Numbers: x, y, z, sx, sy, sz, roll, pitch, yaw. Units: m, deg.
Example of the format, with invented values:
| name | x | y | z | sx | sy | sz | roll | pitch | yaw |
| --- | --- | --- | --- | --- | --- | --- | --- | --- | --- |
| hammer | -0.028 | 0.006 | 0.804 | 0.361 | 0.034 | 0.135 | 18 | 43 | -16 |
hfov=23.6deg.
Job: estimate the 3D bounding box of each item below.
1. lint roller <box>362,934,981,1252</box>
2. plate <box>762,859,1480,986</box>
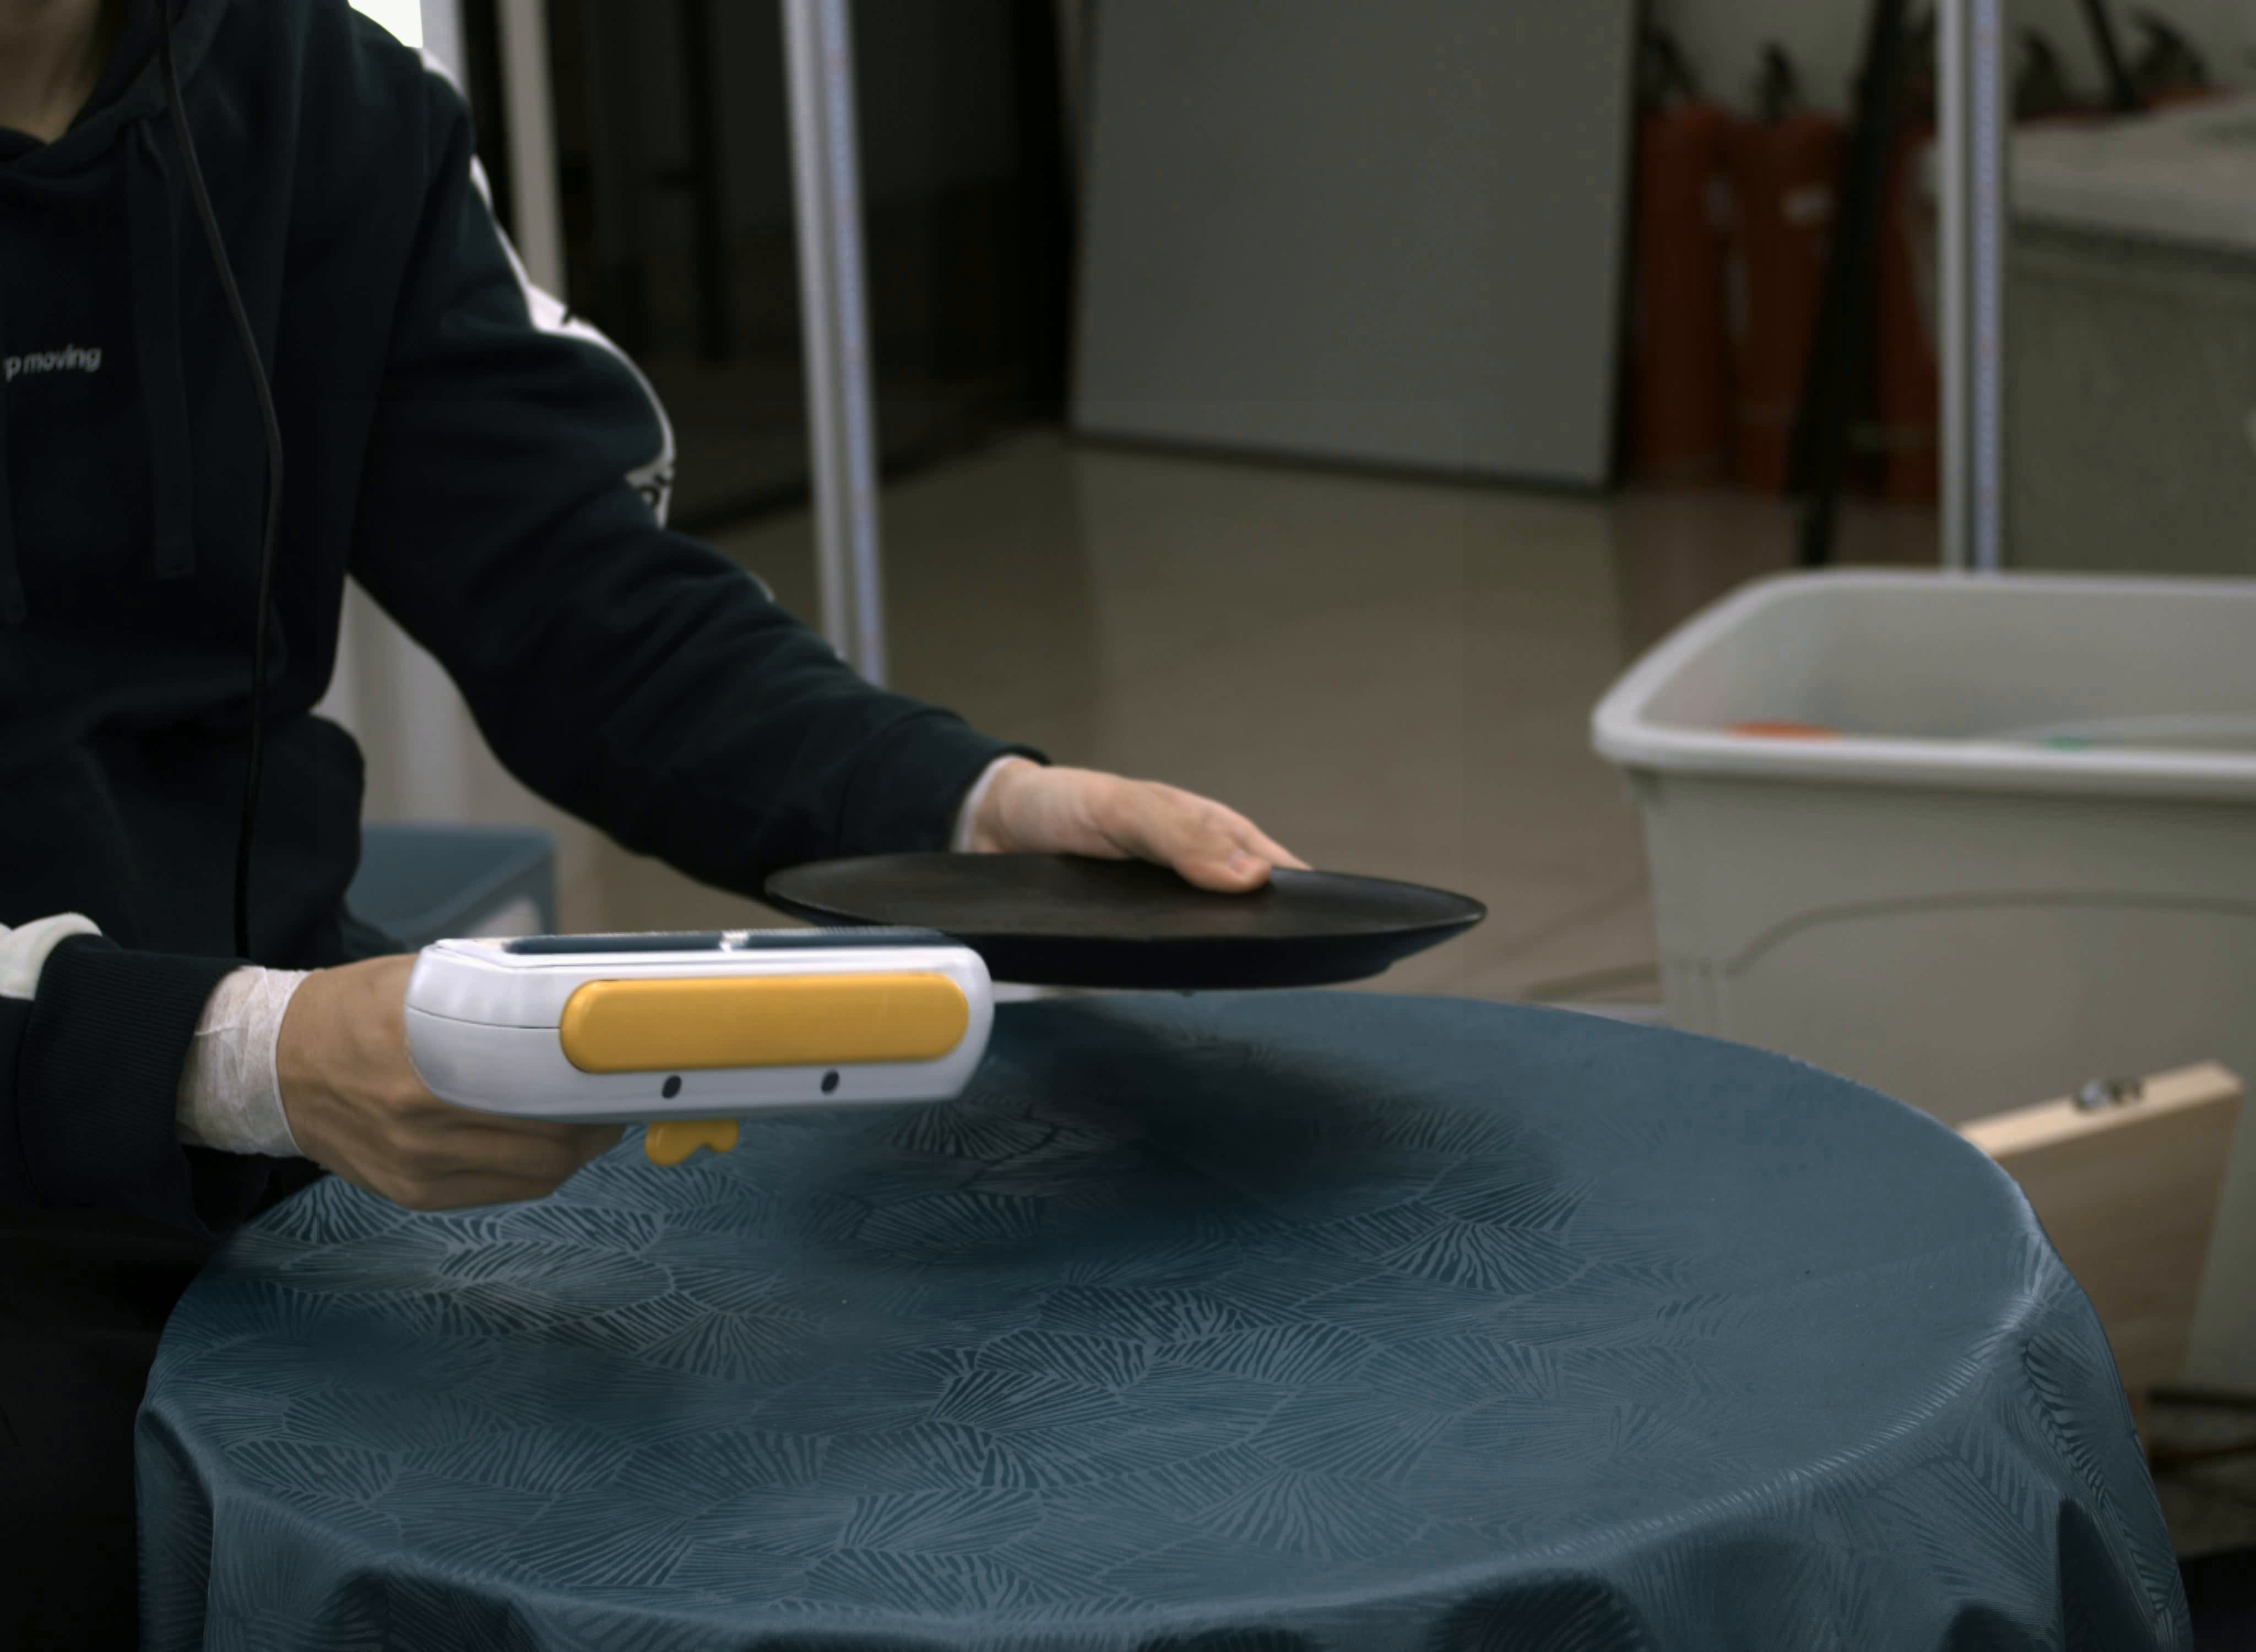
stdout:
| name | x | y | z | sx | sy | sz | roll | pitch | yaw |
| --- | --- | --- | --- | --- | --- | --- | --- | --- | --- |
| lint roller | -0.160 | 0.083 | 1.648 | 0.188 | 0.075 | 0.194 | -5 | -13 | -32 |
| plate | -0.003 | 0.032 | 1.802 | 0.241 | 0.024 | 0.244 | 1 | 5 | -1 |
